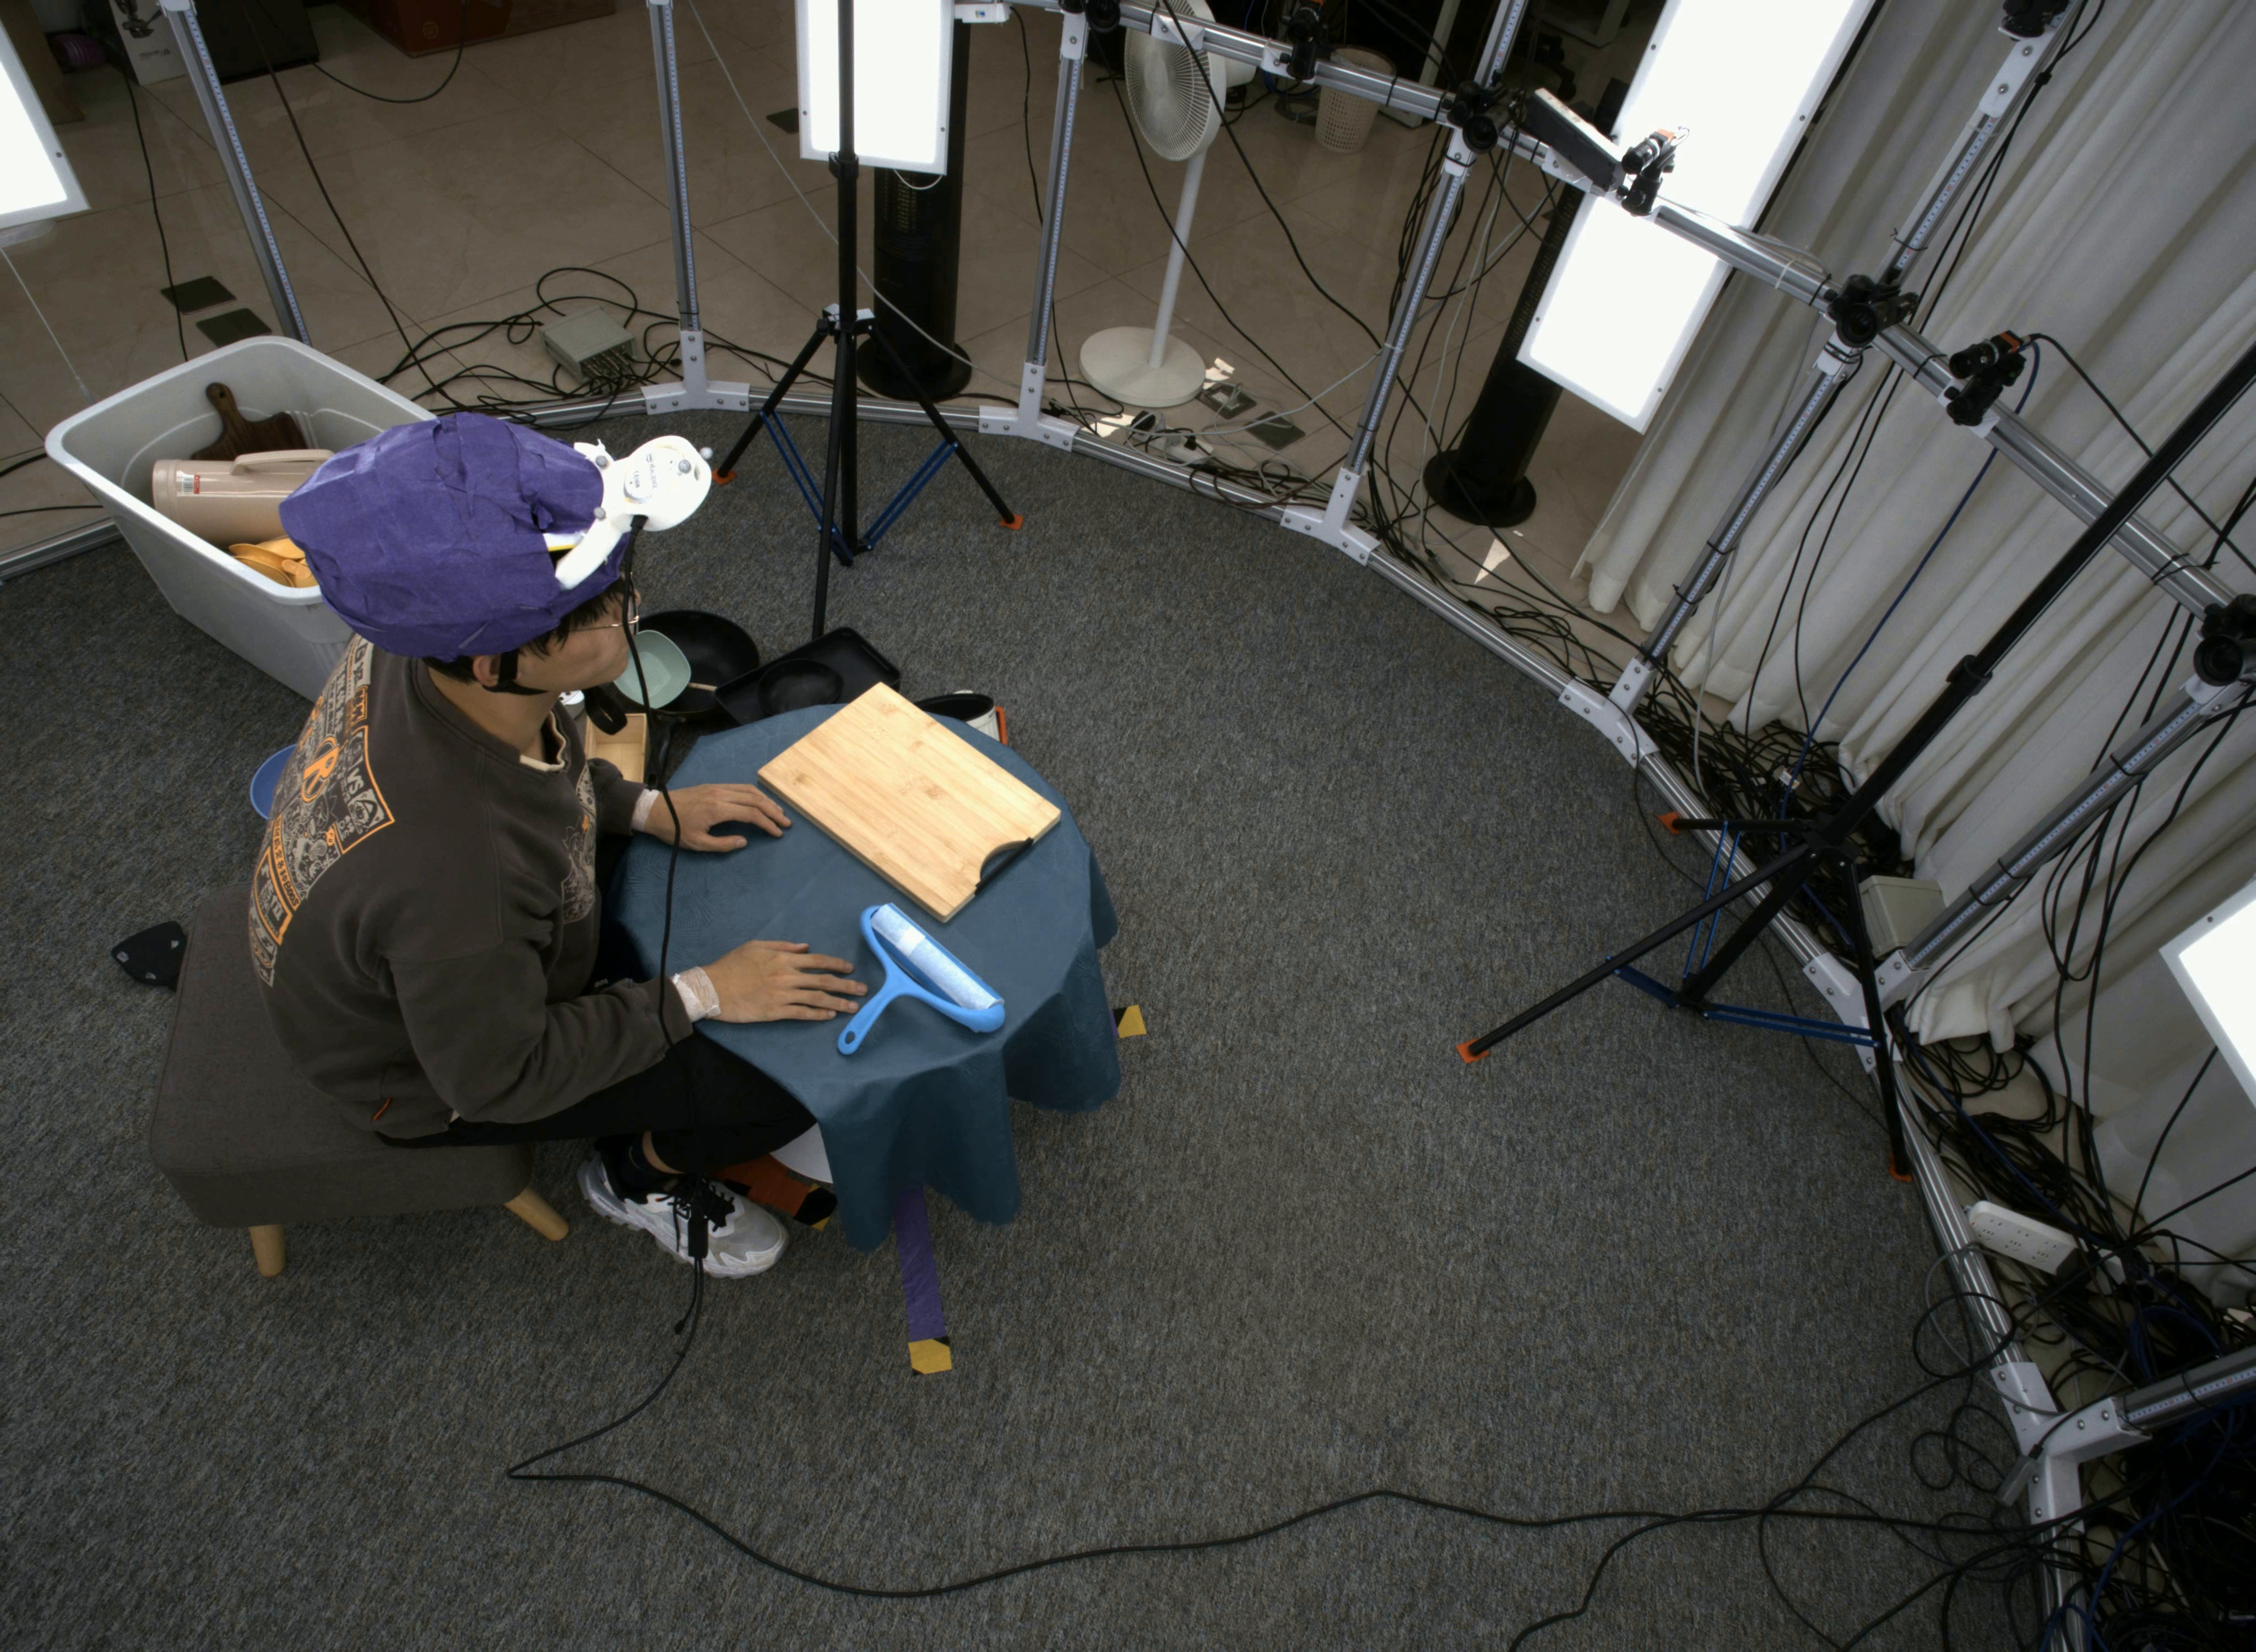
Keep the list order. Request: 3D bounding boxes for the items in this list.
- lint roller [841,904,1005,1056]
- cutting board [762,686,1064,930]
[{"bbox_3d":[-0.277,0.205,1.587,0.224,0.069,0.180,37,53,13],"label":"lint roller"},{"bbox_3d":[-0.293,-0.036,1.787,0.342,0.024,0.250,35,55,13],"label":"cutting board"}]
